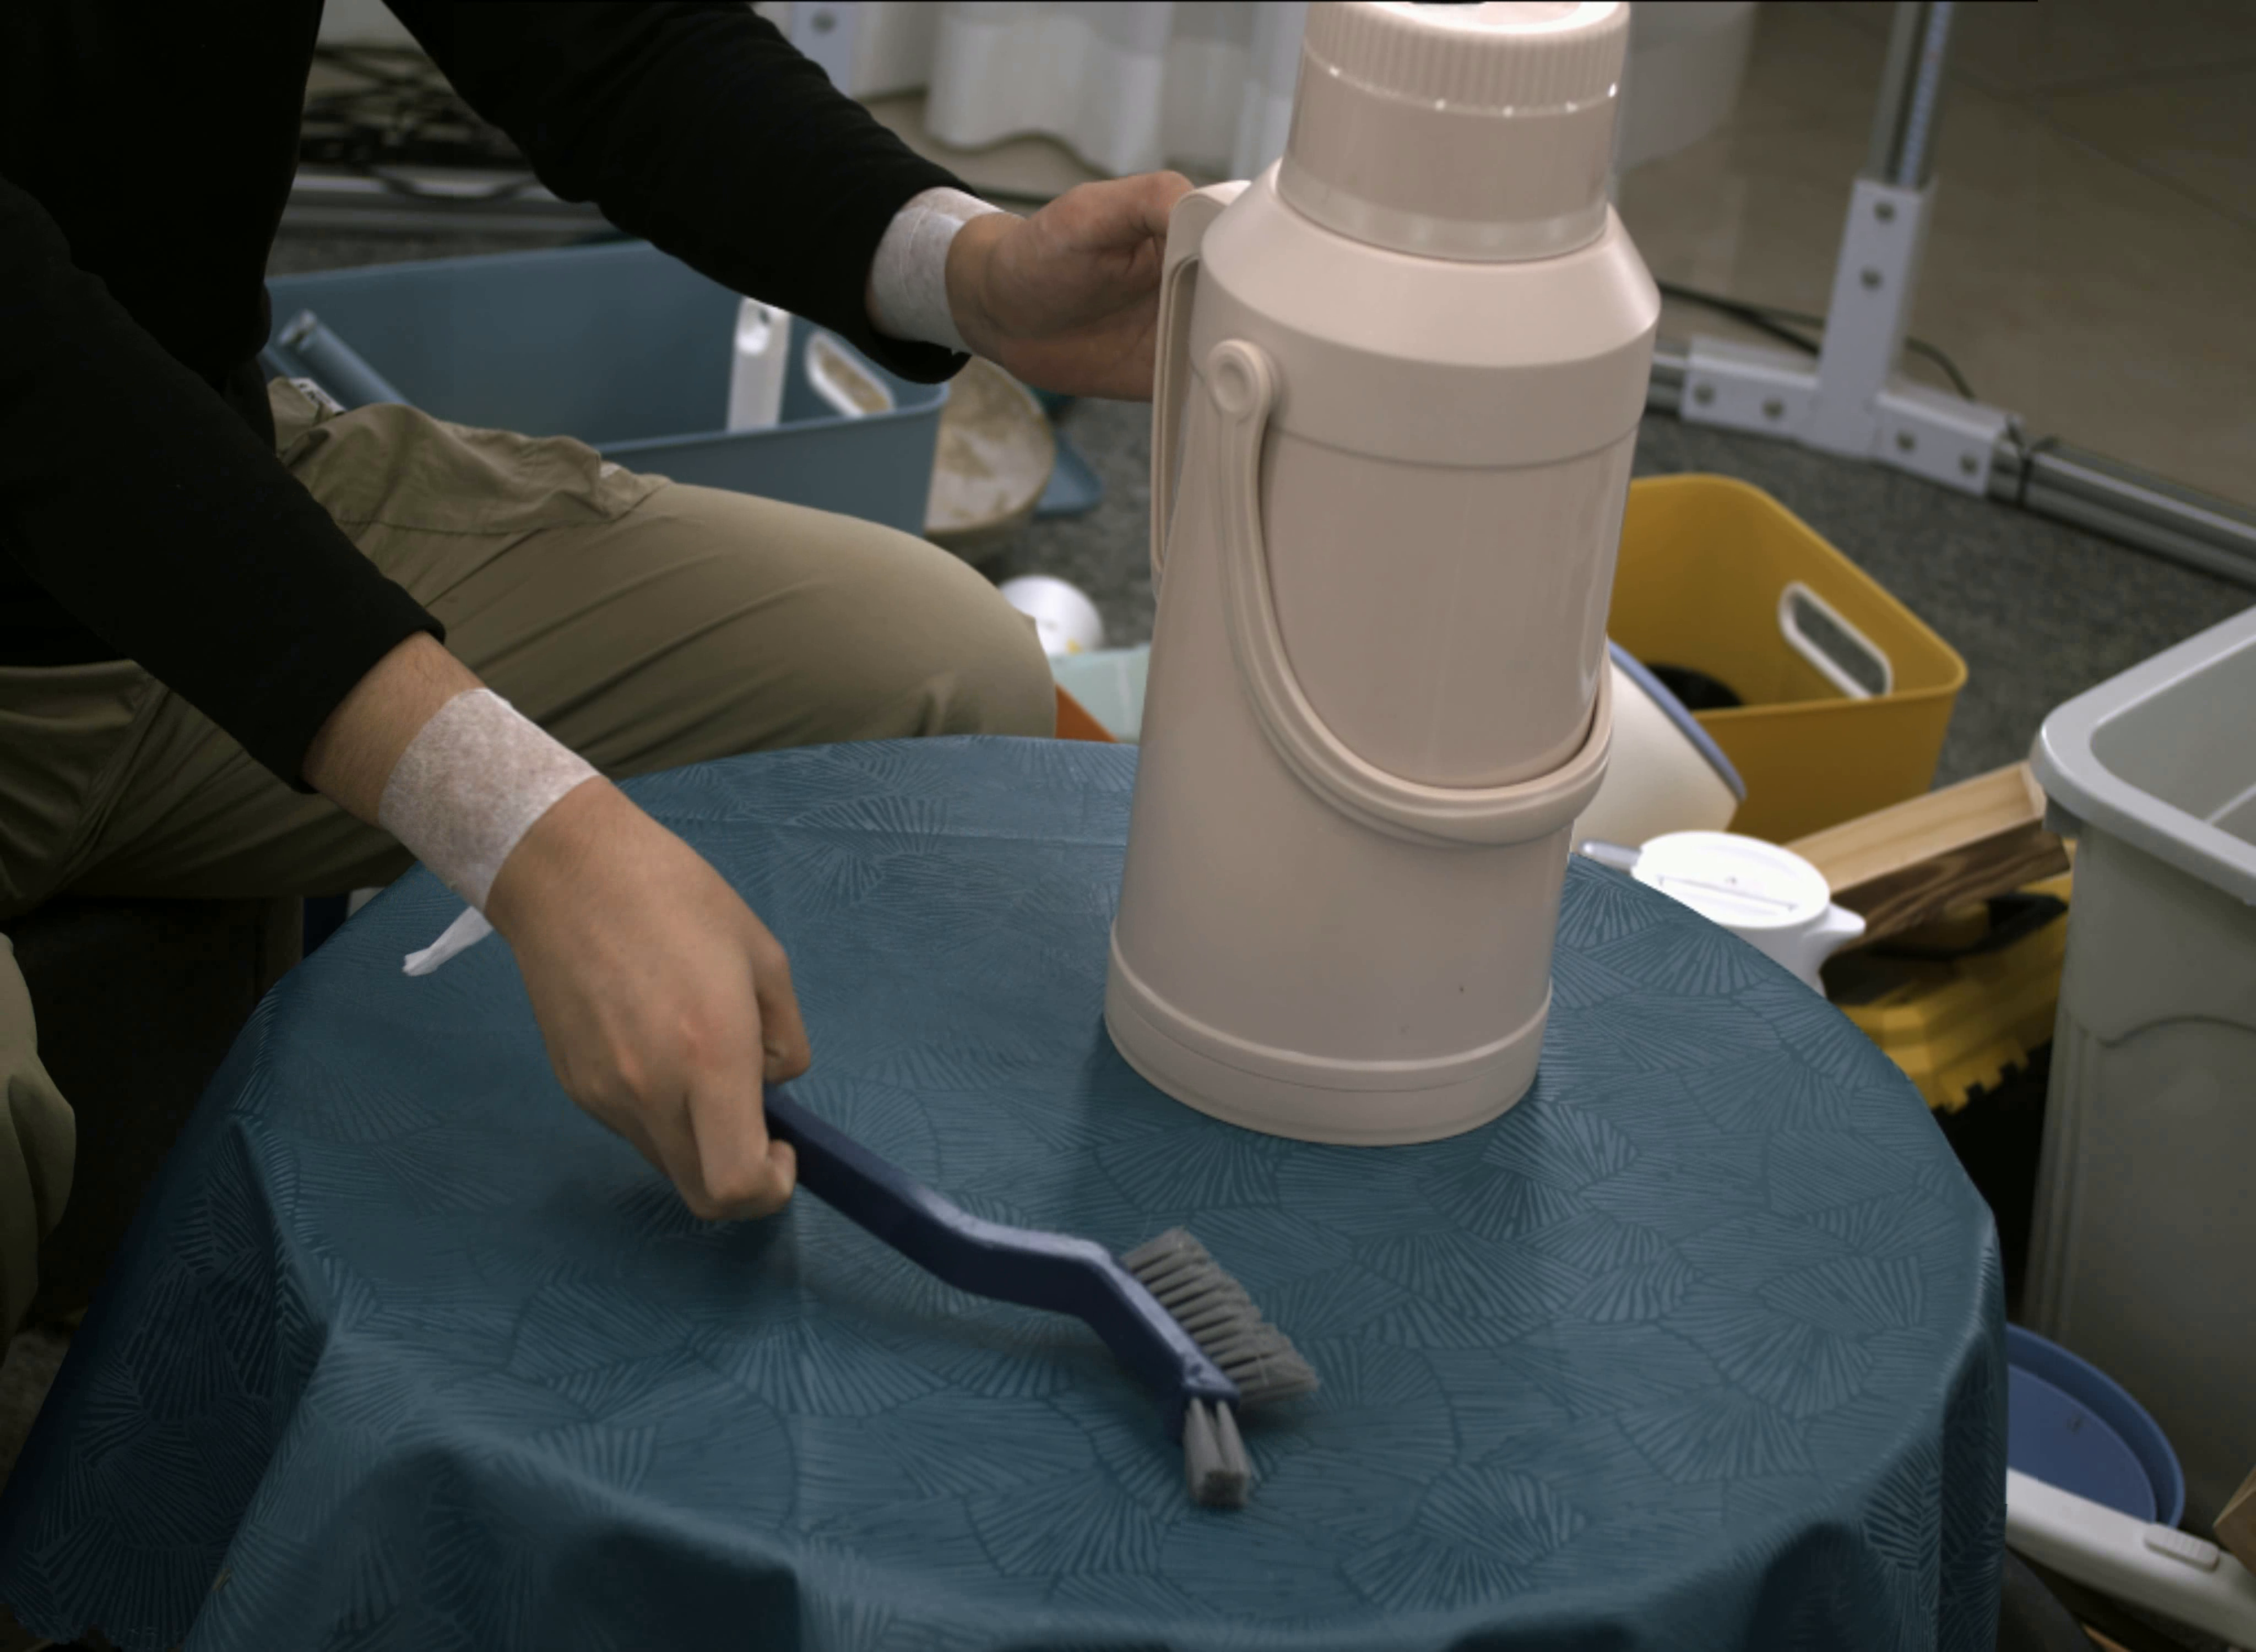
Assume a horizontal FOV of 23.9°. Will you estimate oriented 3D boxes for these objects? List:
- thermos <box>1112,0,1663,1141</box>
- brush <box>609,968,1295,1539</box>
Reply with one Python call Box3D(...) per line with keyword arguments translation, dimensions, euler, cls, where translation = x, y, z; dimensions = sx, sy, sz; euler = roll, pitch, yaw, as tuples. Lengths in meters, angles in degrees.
Box3D(translation=(0.084, -0.107, 1.837), dimensions=(0.174, 0.405, 0.209), euler=(-18, 36, -38), cls="thermos")
Box3D(translation=(-0.069, 0.131, 1.703), dimensions=(0.274, 0.033, 0.096), euler=(26, 44, 18), cls="brush")
